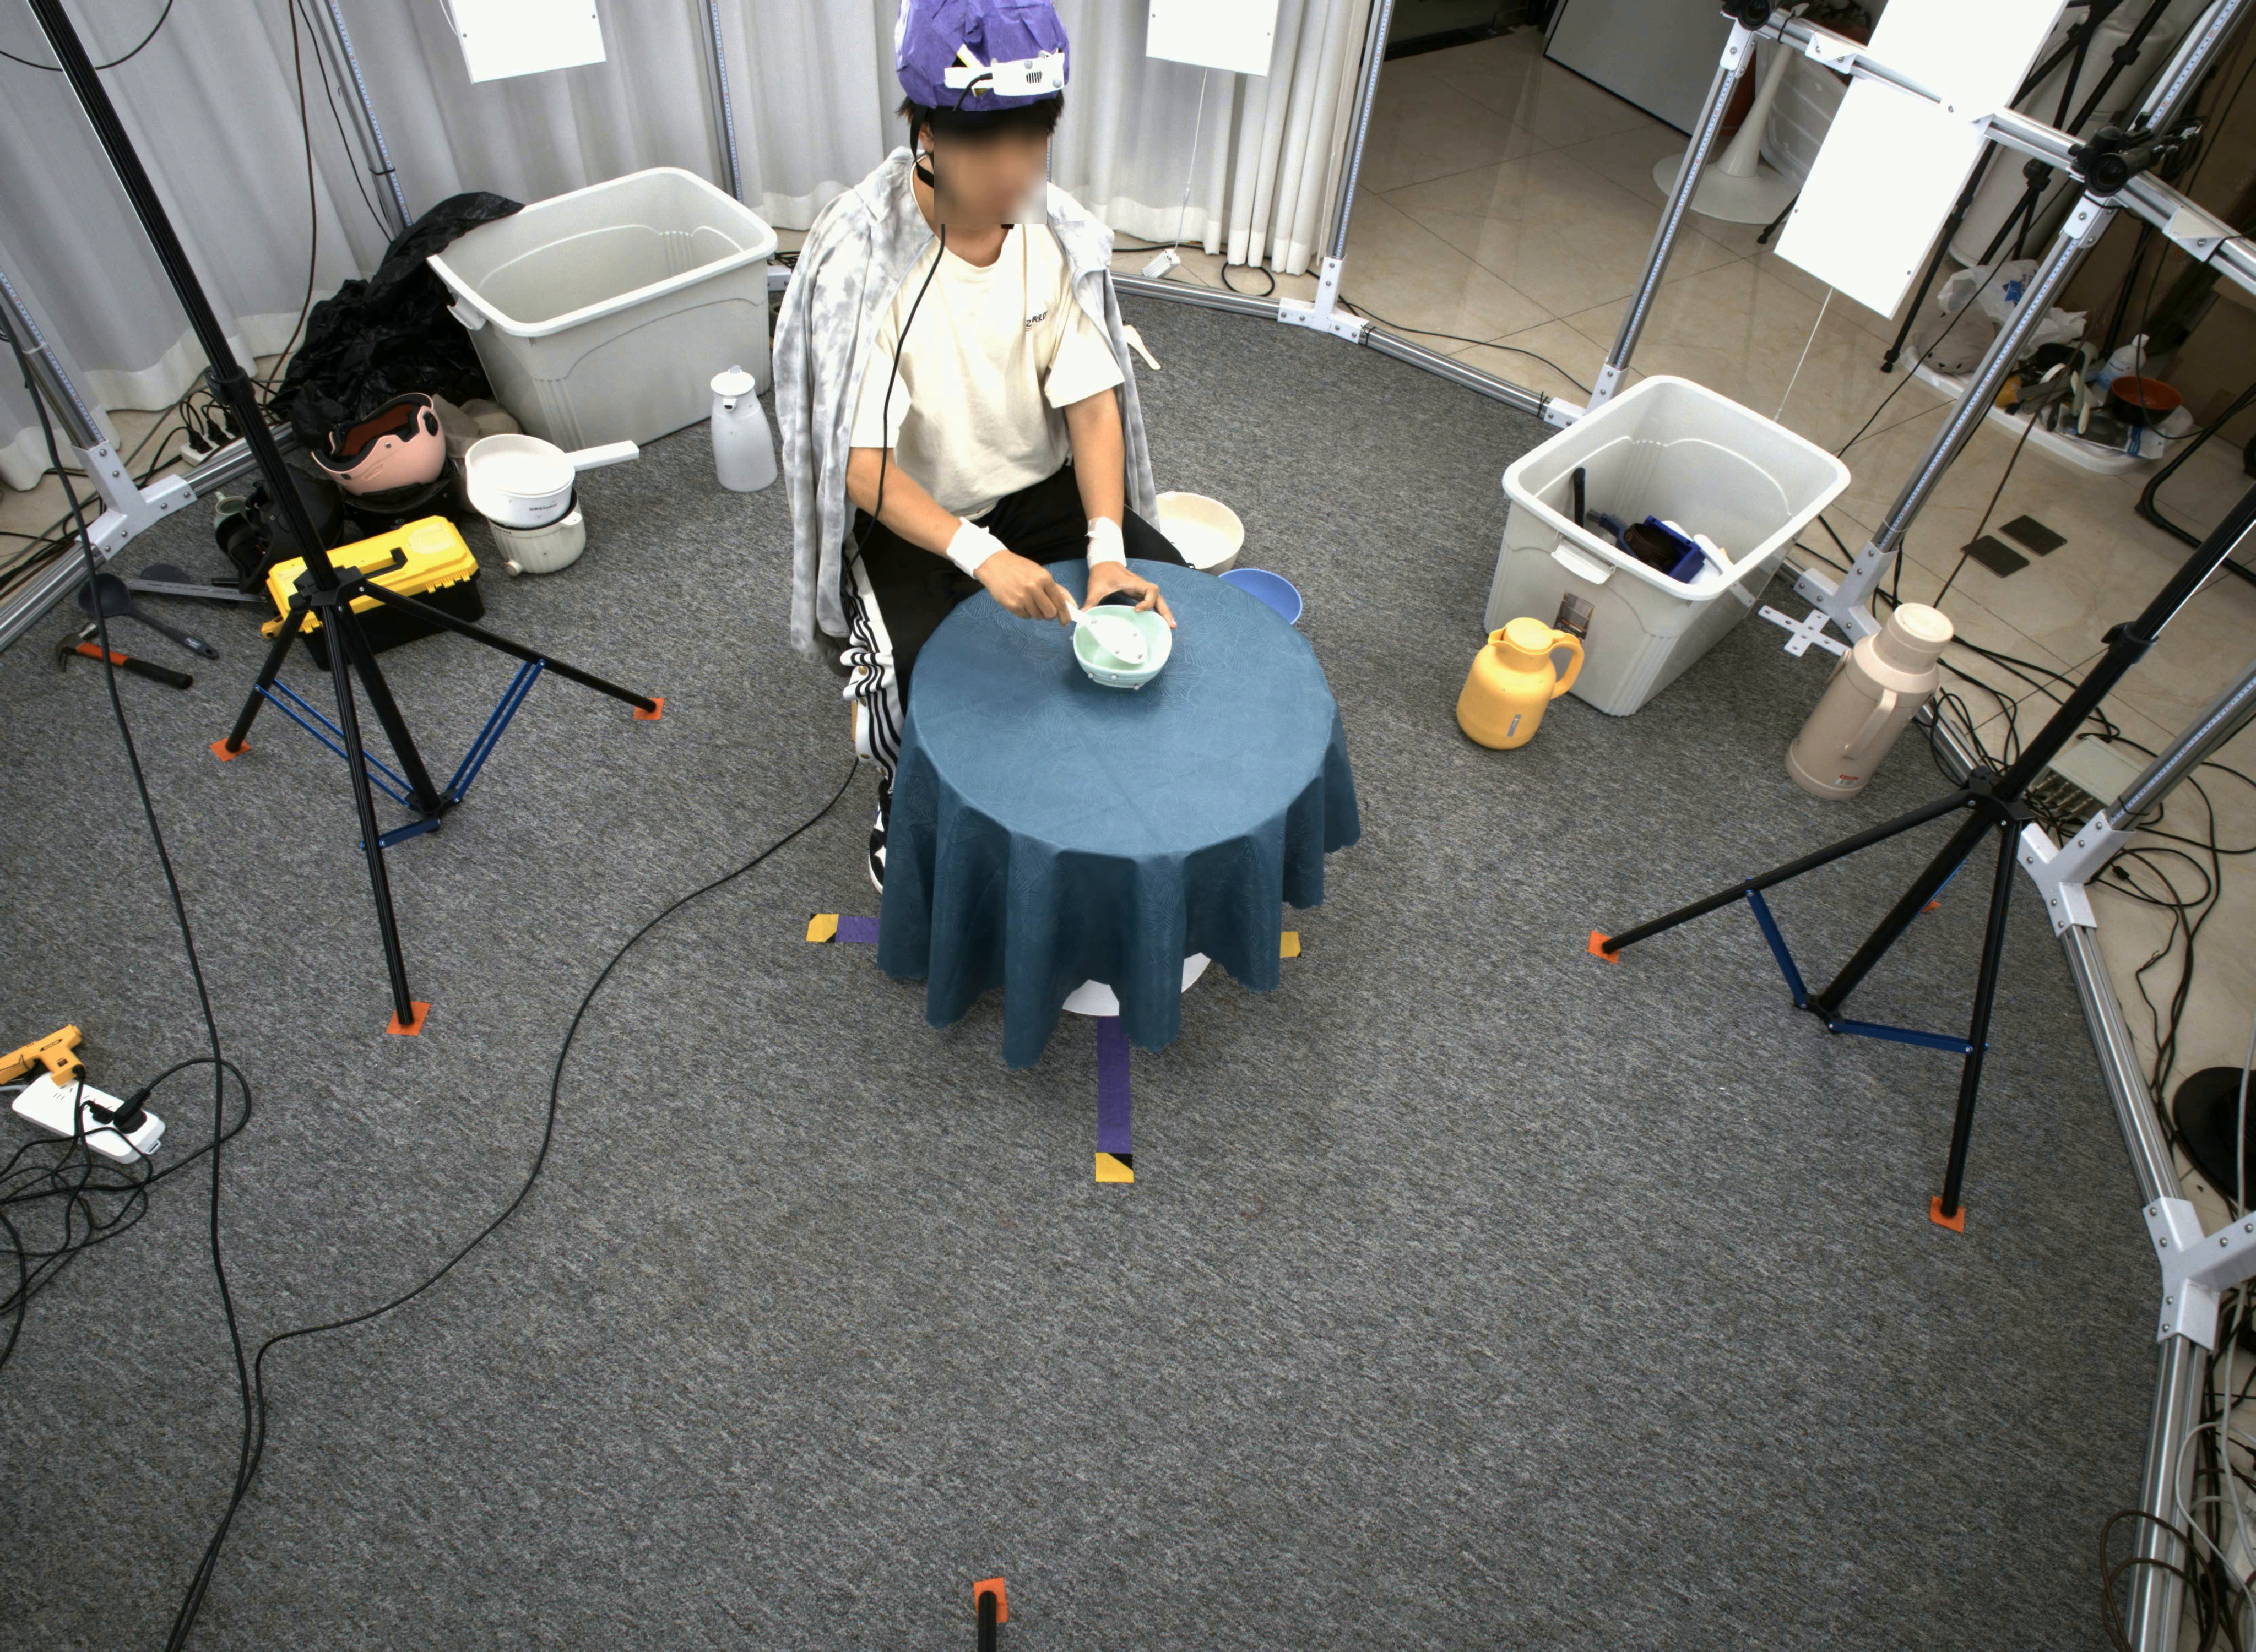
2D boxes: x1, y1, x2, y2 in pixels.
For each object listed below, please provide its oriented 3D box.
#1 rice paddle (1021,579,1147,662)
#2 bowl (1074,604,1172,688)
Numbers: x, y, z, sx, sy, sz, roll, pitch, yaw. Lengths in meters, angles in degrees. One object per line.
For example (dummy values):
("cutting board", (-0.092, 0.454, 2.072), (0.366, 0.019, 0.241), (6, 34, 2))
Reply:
("rice paddle", (-0.056, -0.290, 1.808), (0.203, 0.029, 0.070), (24, 54, -25))
("bowl", (-0.007, -0.250, 1.841), (0.151, 0.057, 0.155), (1, 51, -2))
